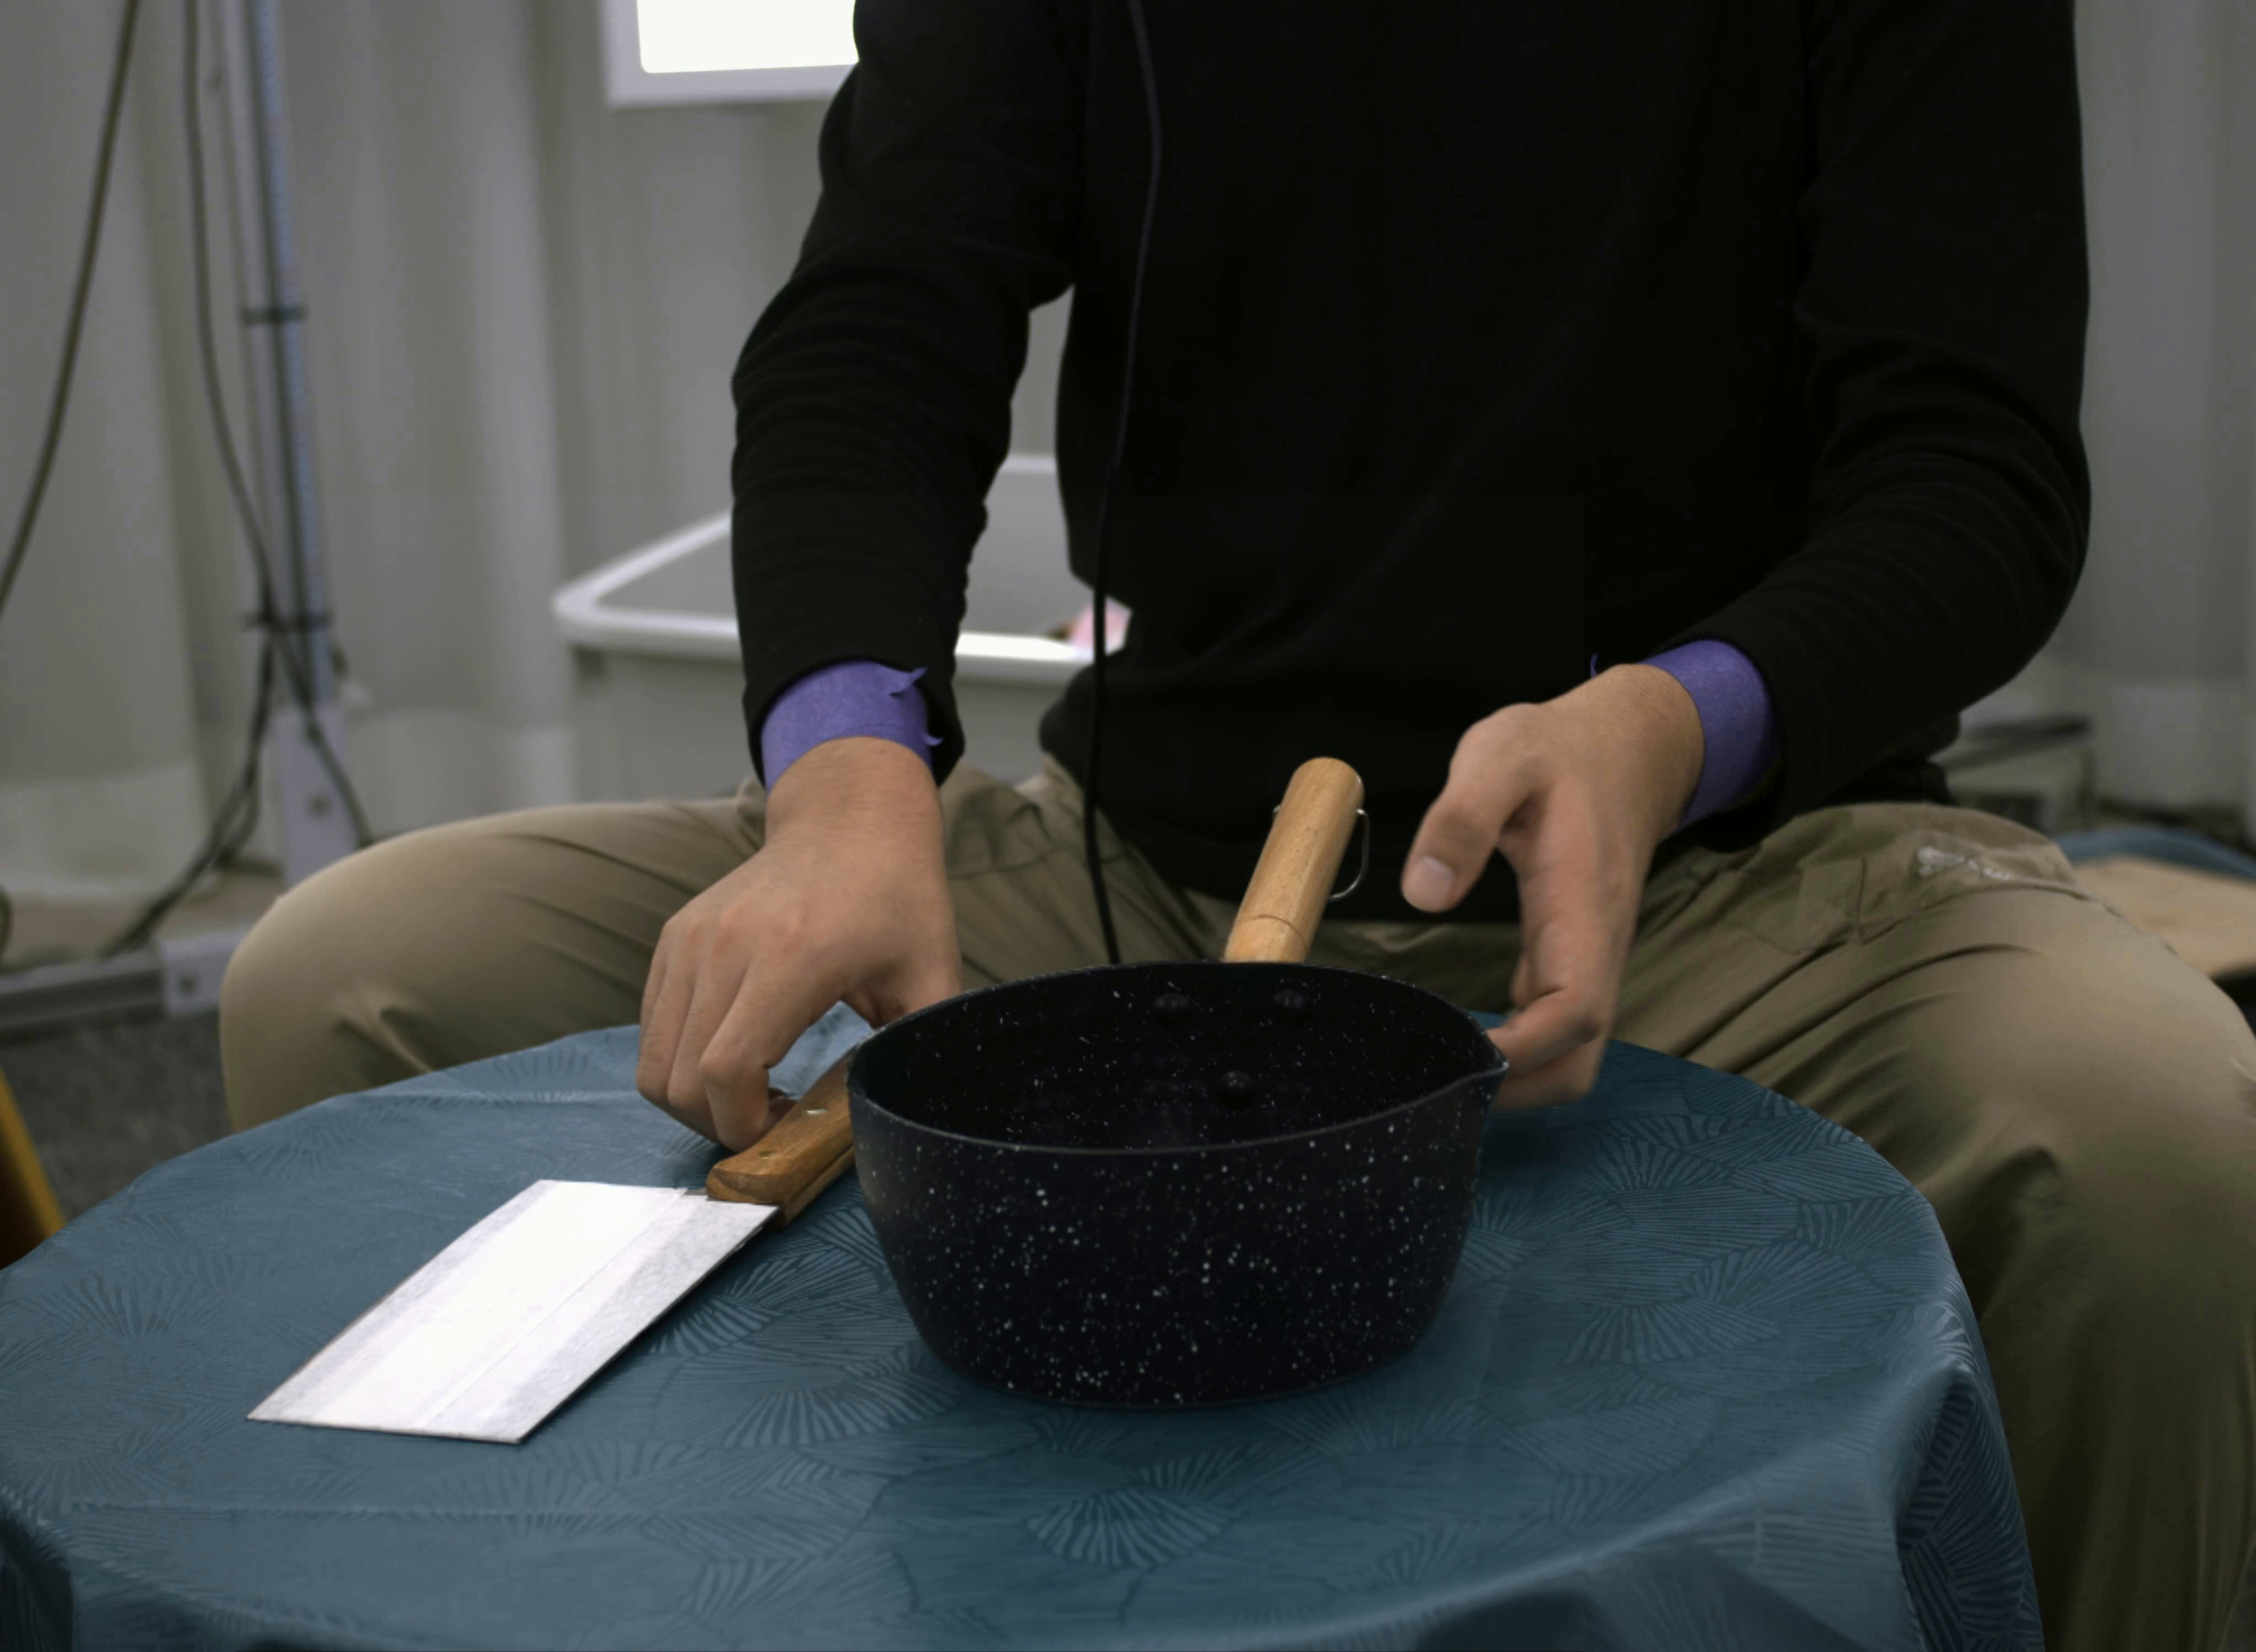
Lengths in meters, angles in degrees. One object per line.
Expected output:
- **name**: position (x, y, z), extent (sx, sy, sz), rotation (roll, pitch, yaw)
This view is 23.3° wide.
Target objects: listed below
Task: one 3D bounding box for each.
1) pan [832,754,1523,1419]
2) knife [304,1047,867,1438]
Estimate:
- **pan**: position (0.029, 0.074, 1.659), extent (0.207, 0.108, 0.344), rotation (0, 16, 12)
- **knife**: position (-0.157, 0.125, 1.675), extent (0.093, 0.021, 0.307), rotation (2, 18, 21)
